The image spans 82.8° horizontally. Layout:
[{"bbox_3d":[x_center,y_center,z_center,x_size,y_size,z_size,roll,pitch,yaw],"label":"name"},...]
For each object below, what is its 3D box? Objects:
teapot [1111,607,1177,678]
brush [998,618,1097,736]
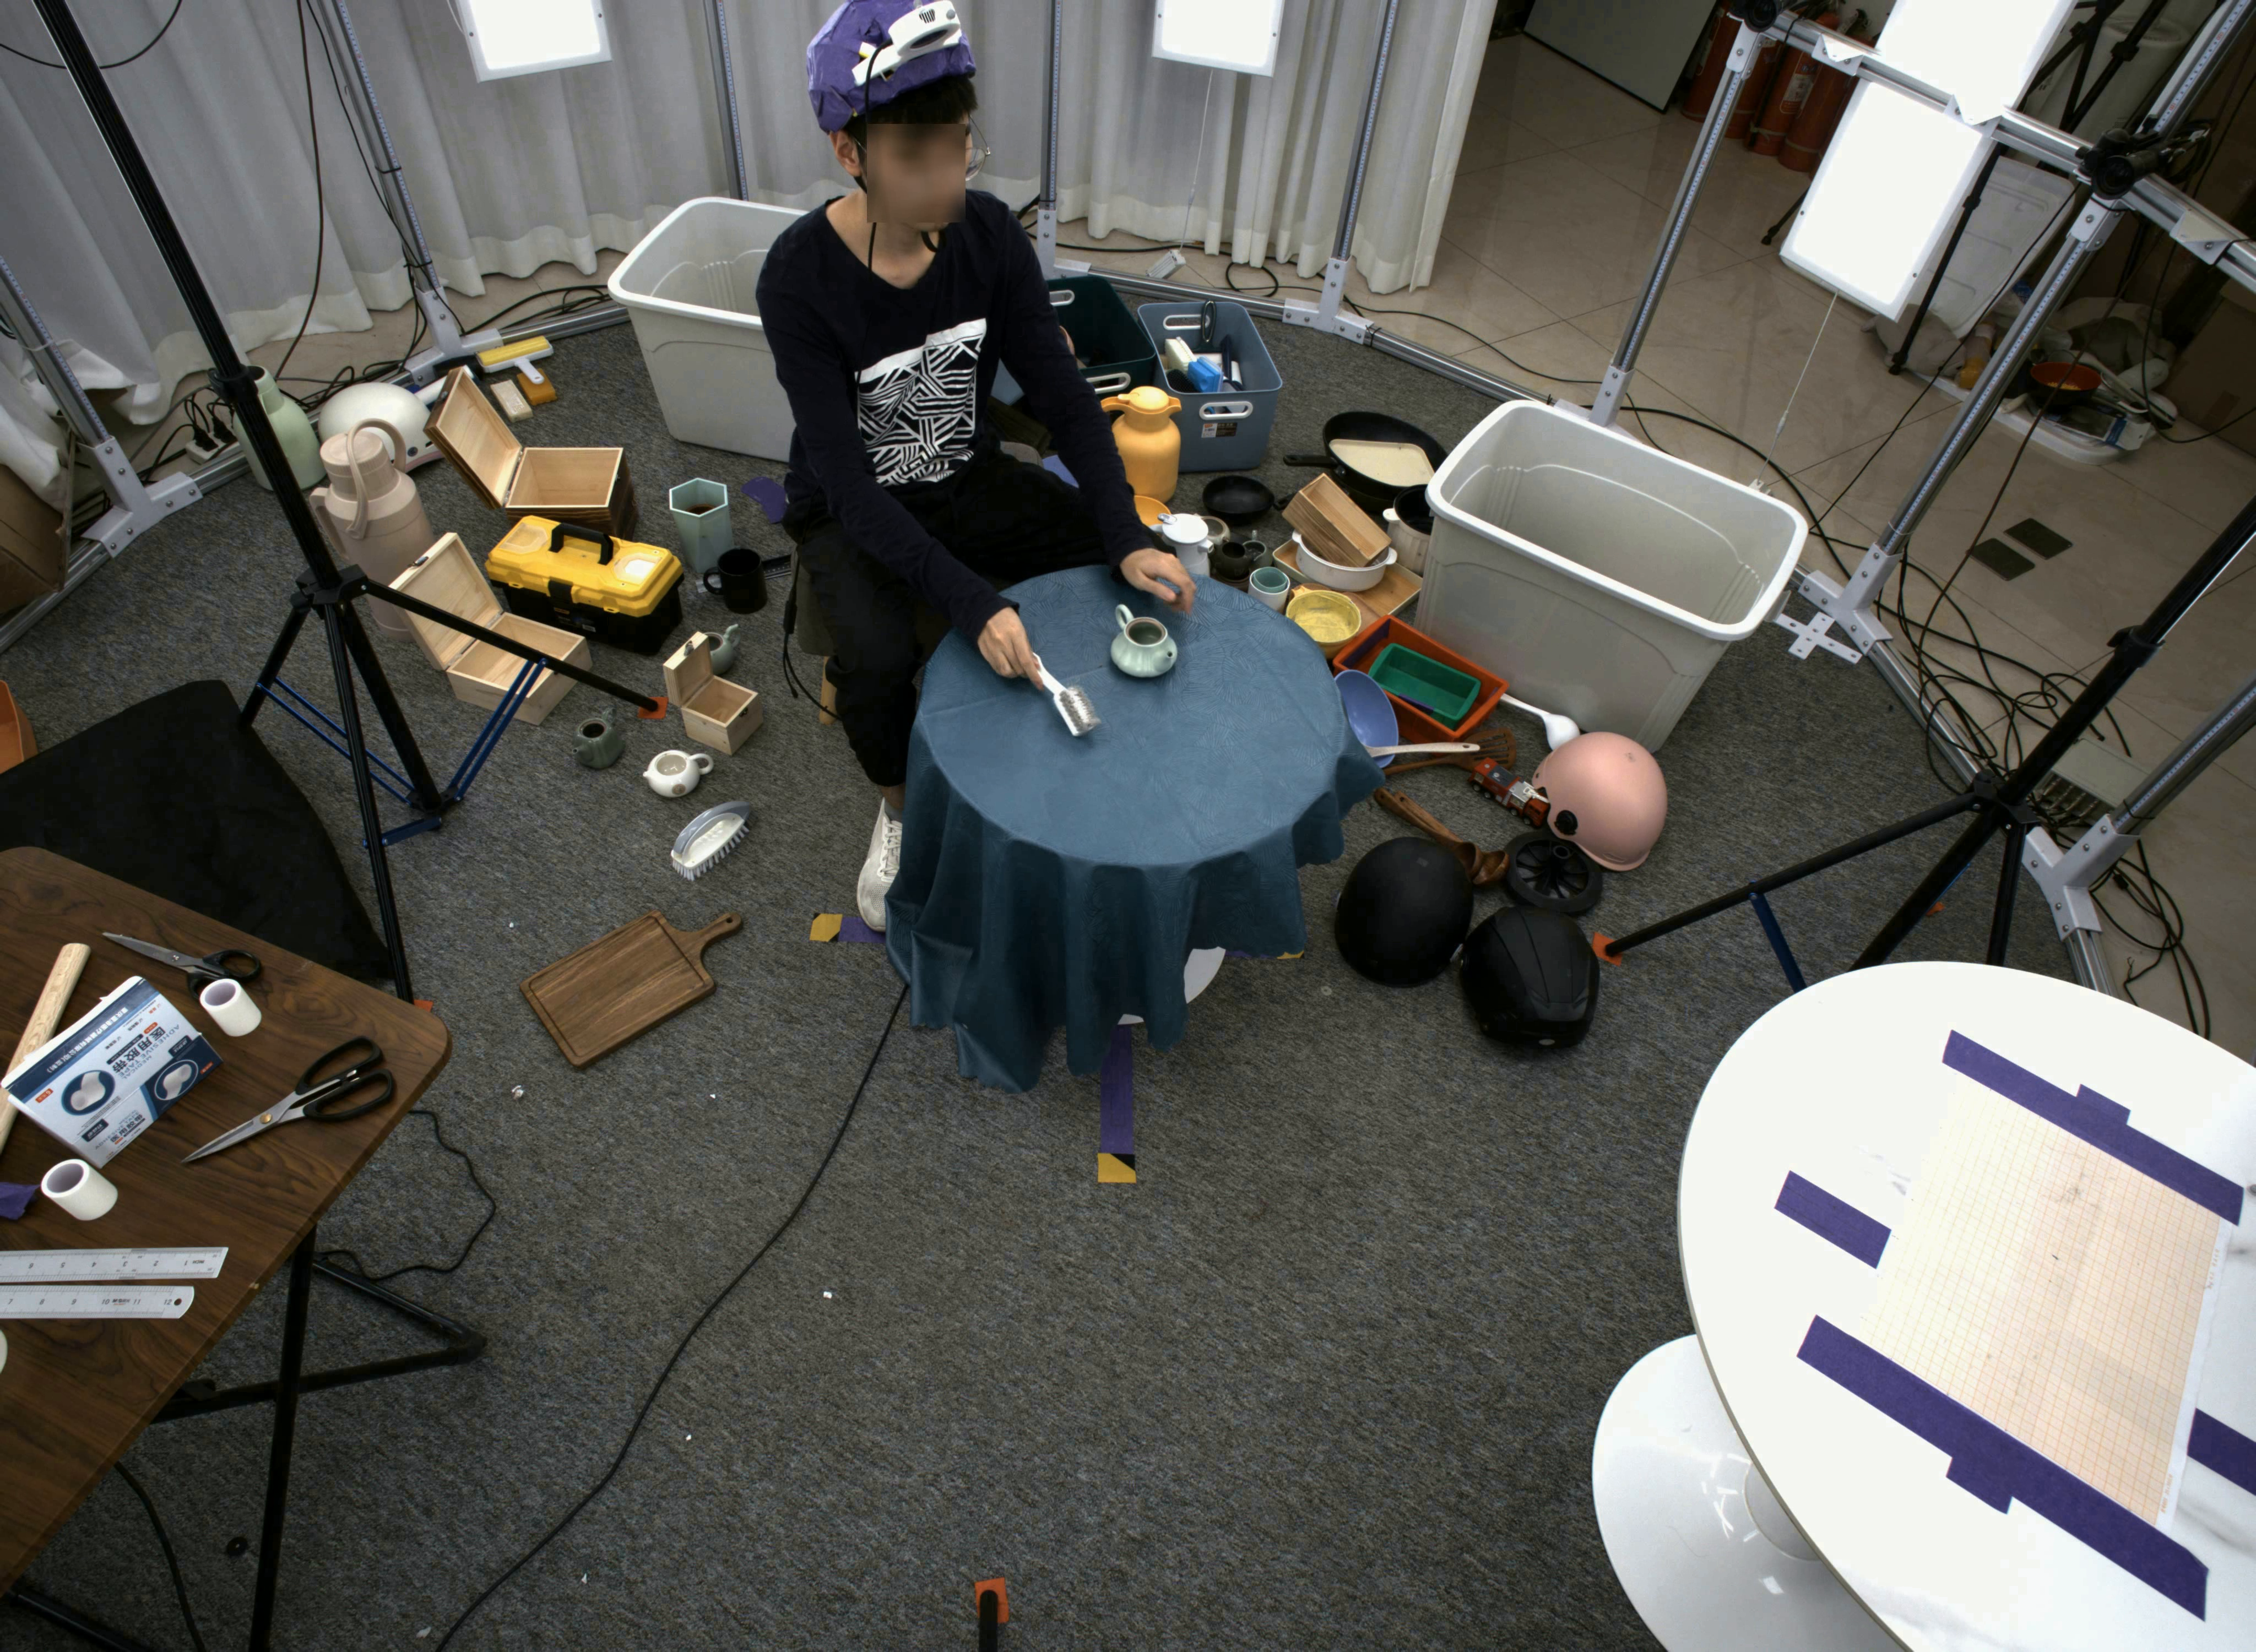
[{"bbox_3d":[0.021,-0.264,1.860,0.097,0.060,0.139,-30,57,-23],"label":"teapot"},{"bbox_3d":[-0.118,-0.222,1.805,0.034,0.049,0.248,-22,60,-23],"label":"brush"}]
